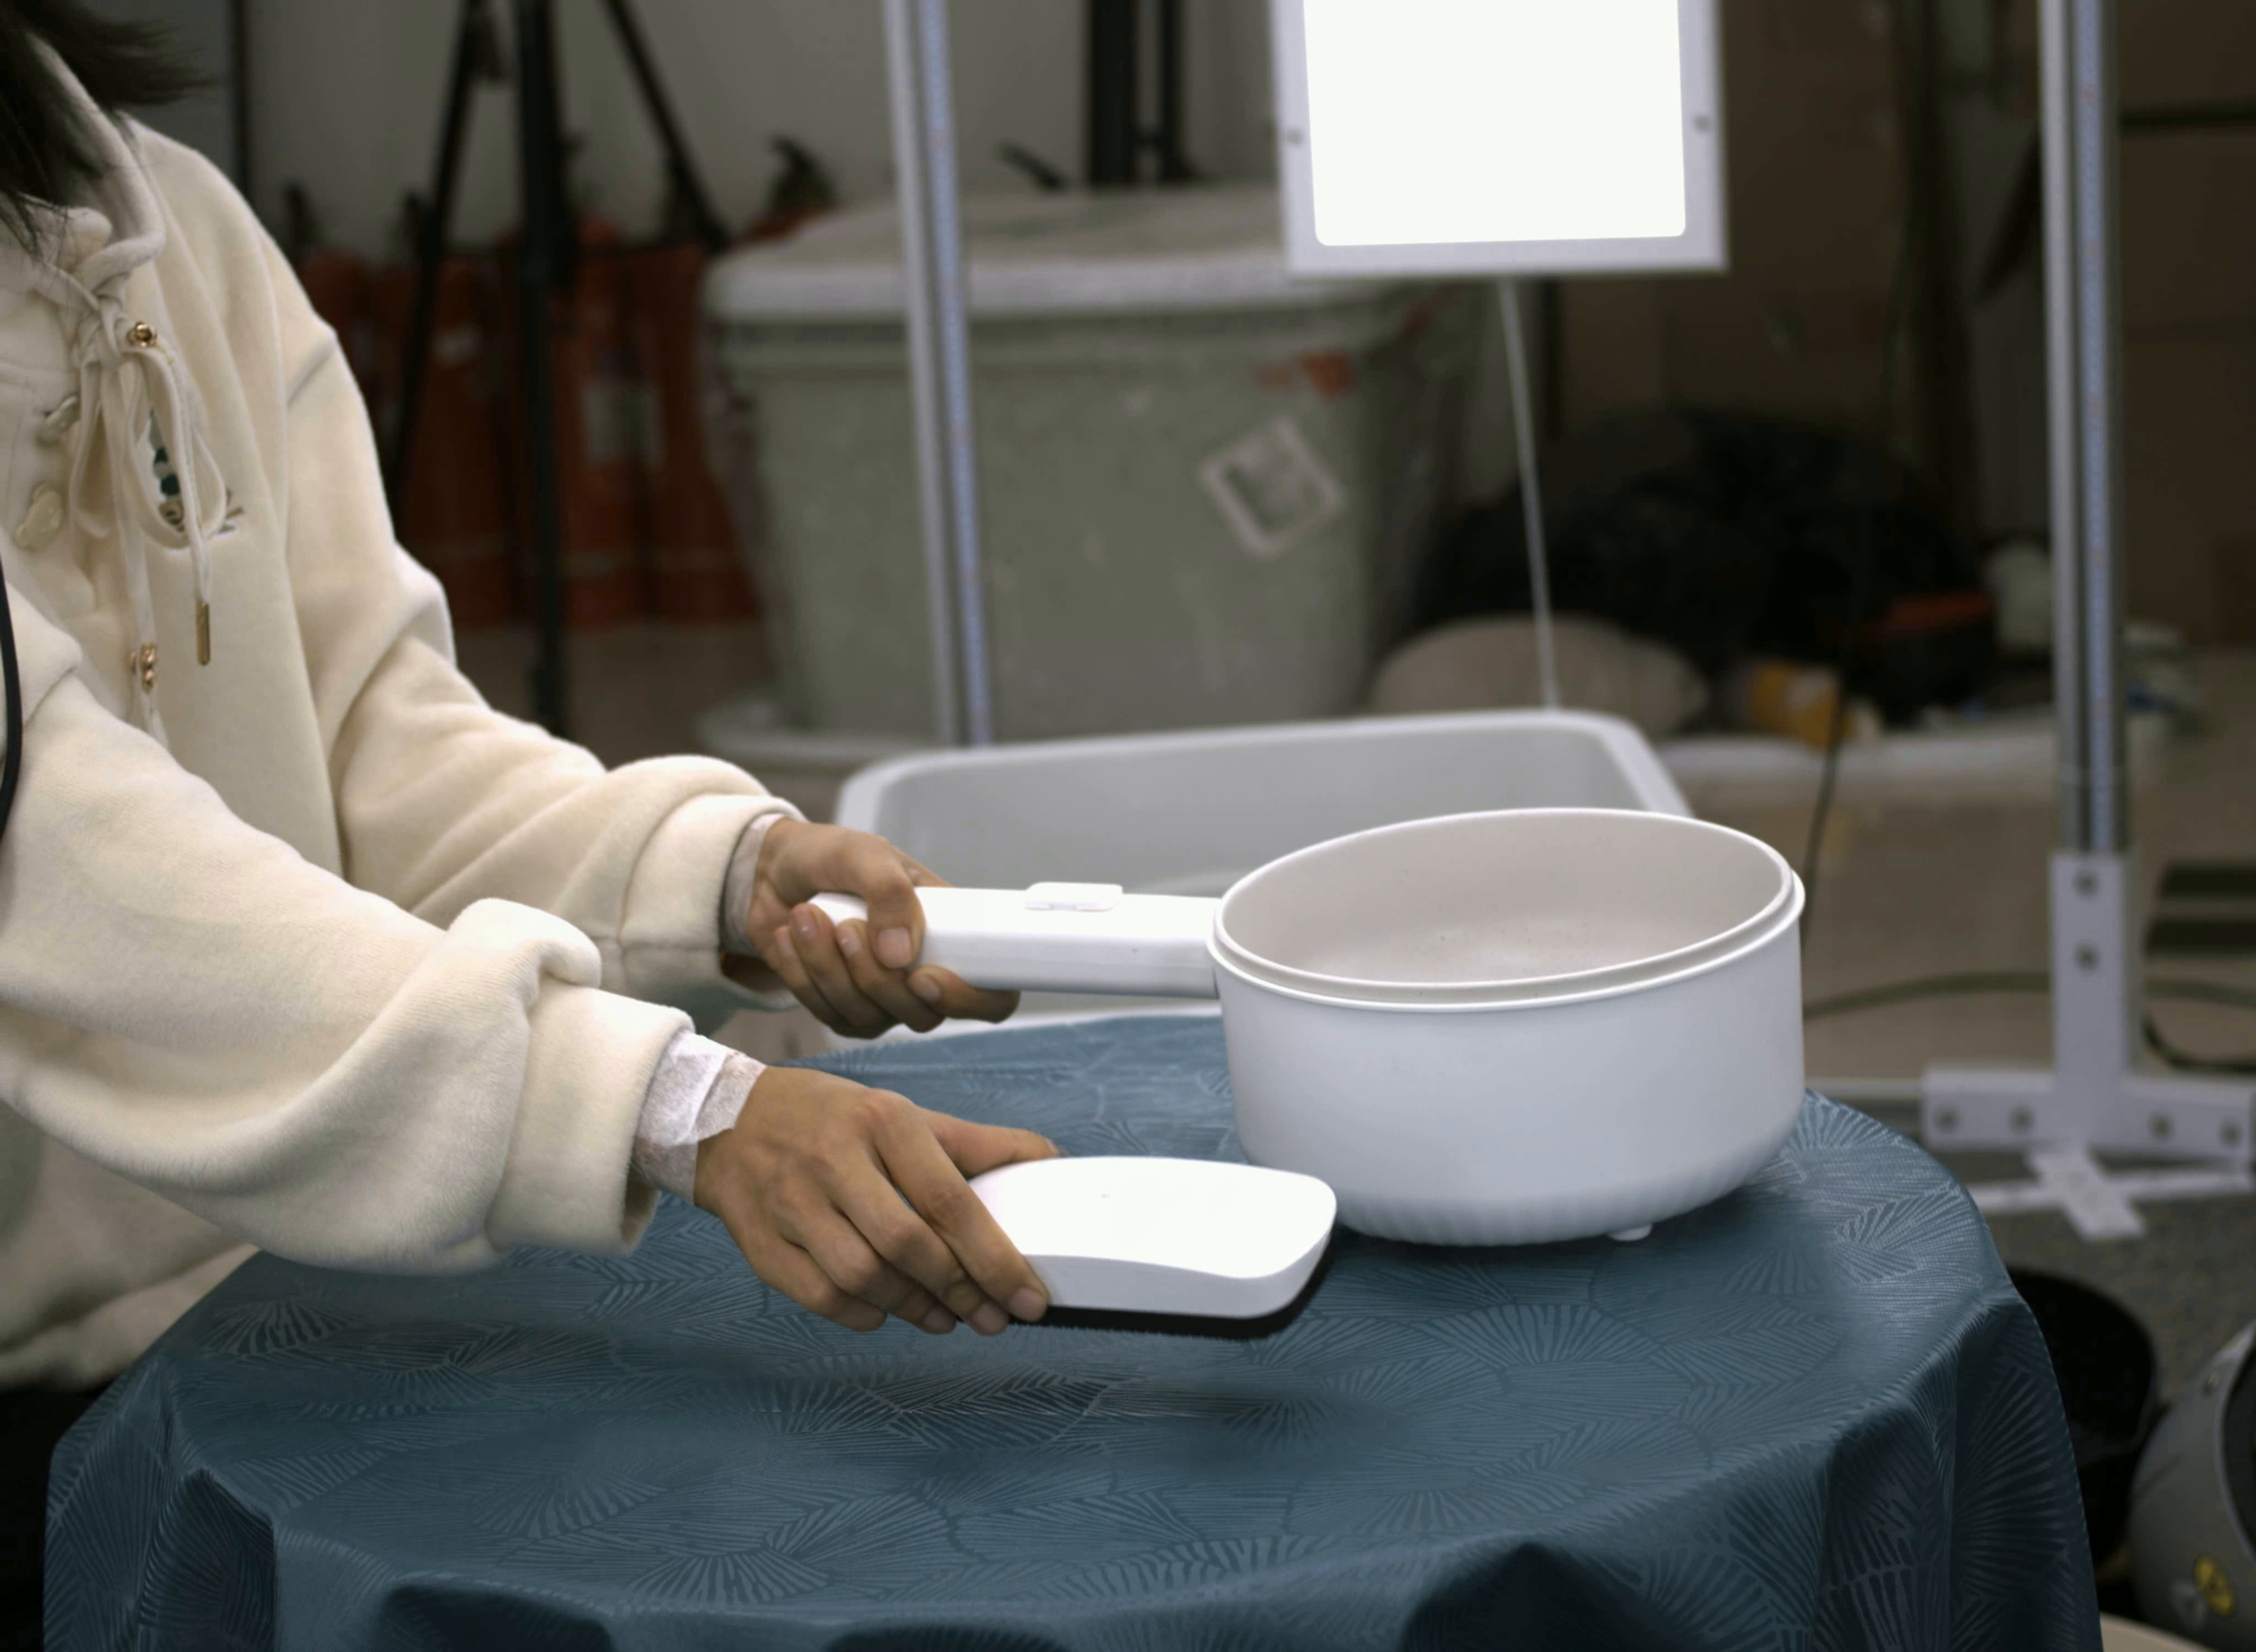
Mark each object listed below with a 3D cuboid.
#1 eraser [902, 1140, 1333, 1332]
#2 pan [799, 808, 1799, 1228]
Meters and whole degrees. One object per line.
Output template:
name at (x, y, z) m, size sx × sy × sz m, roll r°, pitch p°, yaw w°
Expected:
eraser at (-0.002, 0.126, 1.686) m, size 0.134 × 0.034 × 0.062 m, roll 0°, pitch 25°, yaw 30°
pan at (0.057, 0.068, 1.882) m, size 0.360 × 0.102 × 0.197 m, roll -1°, pitch 14°, yaw 24°
